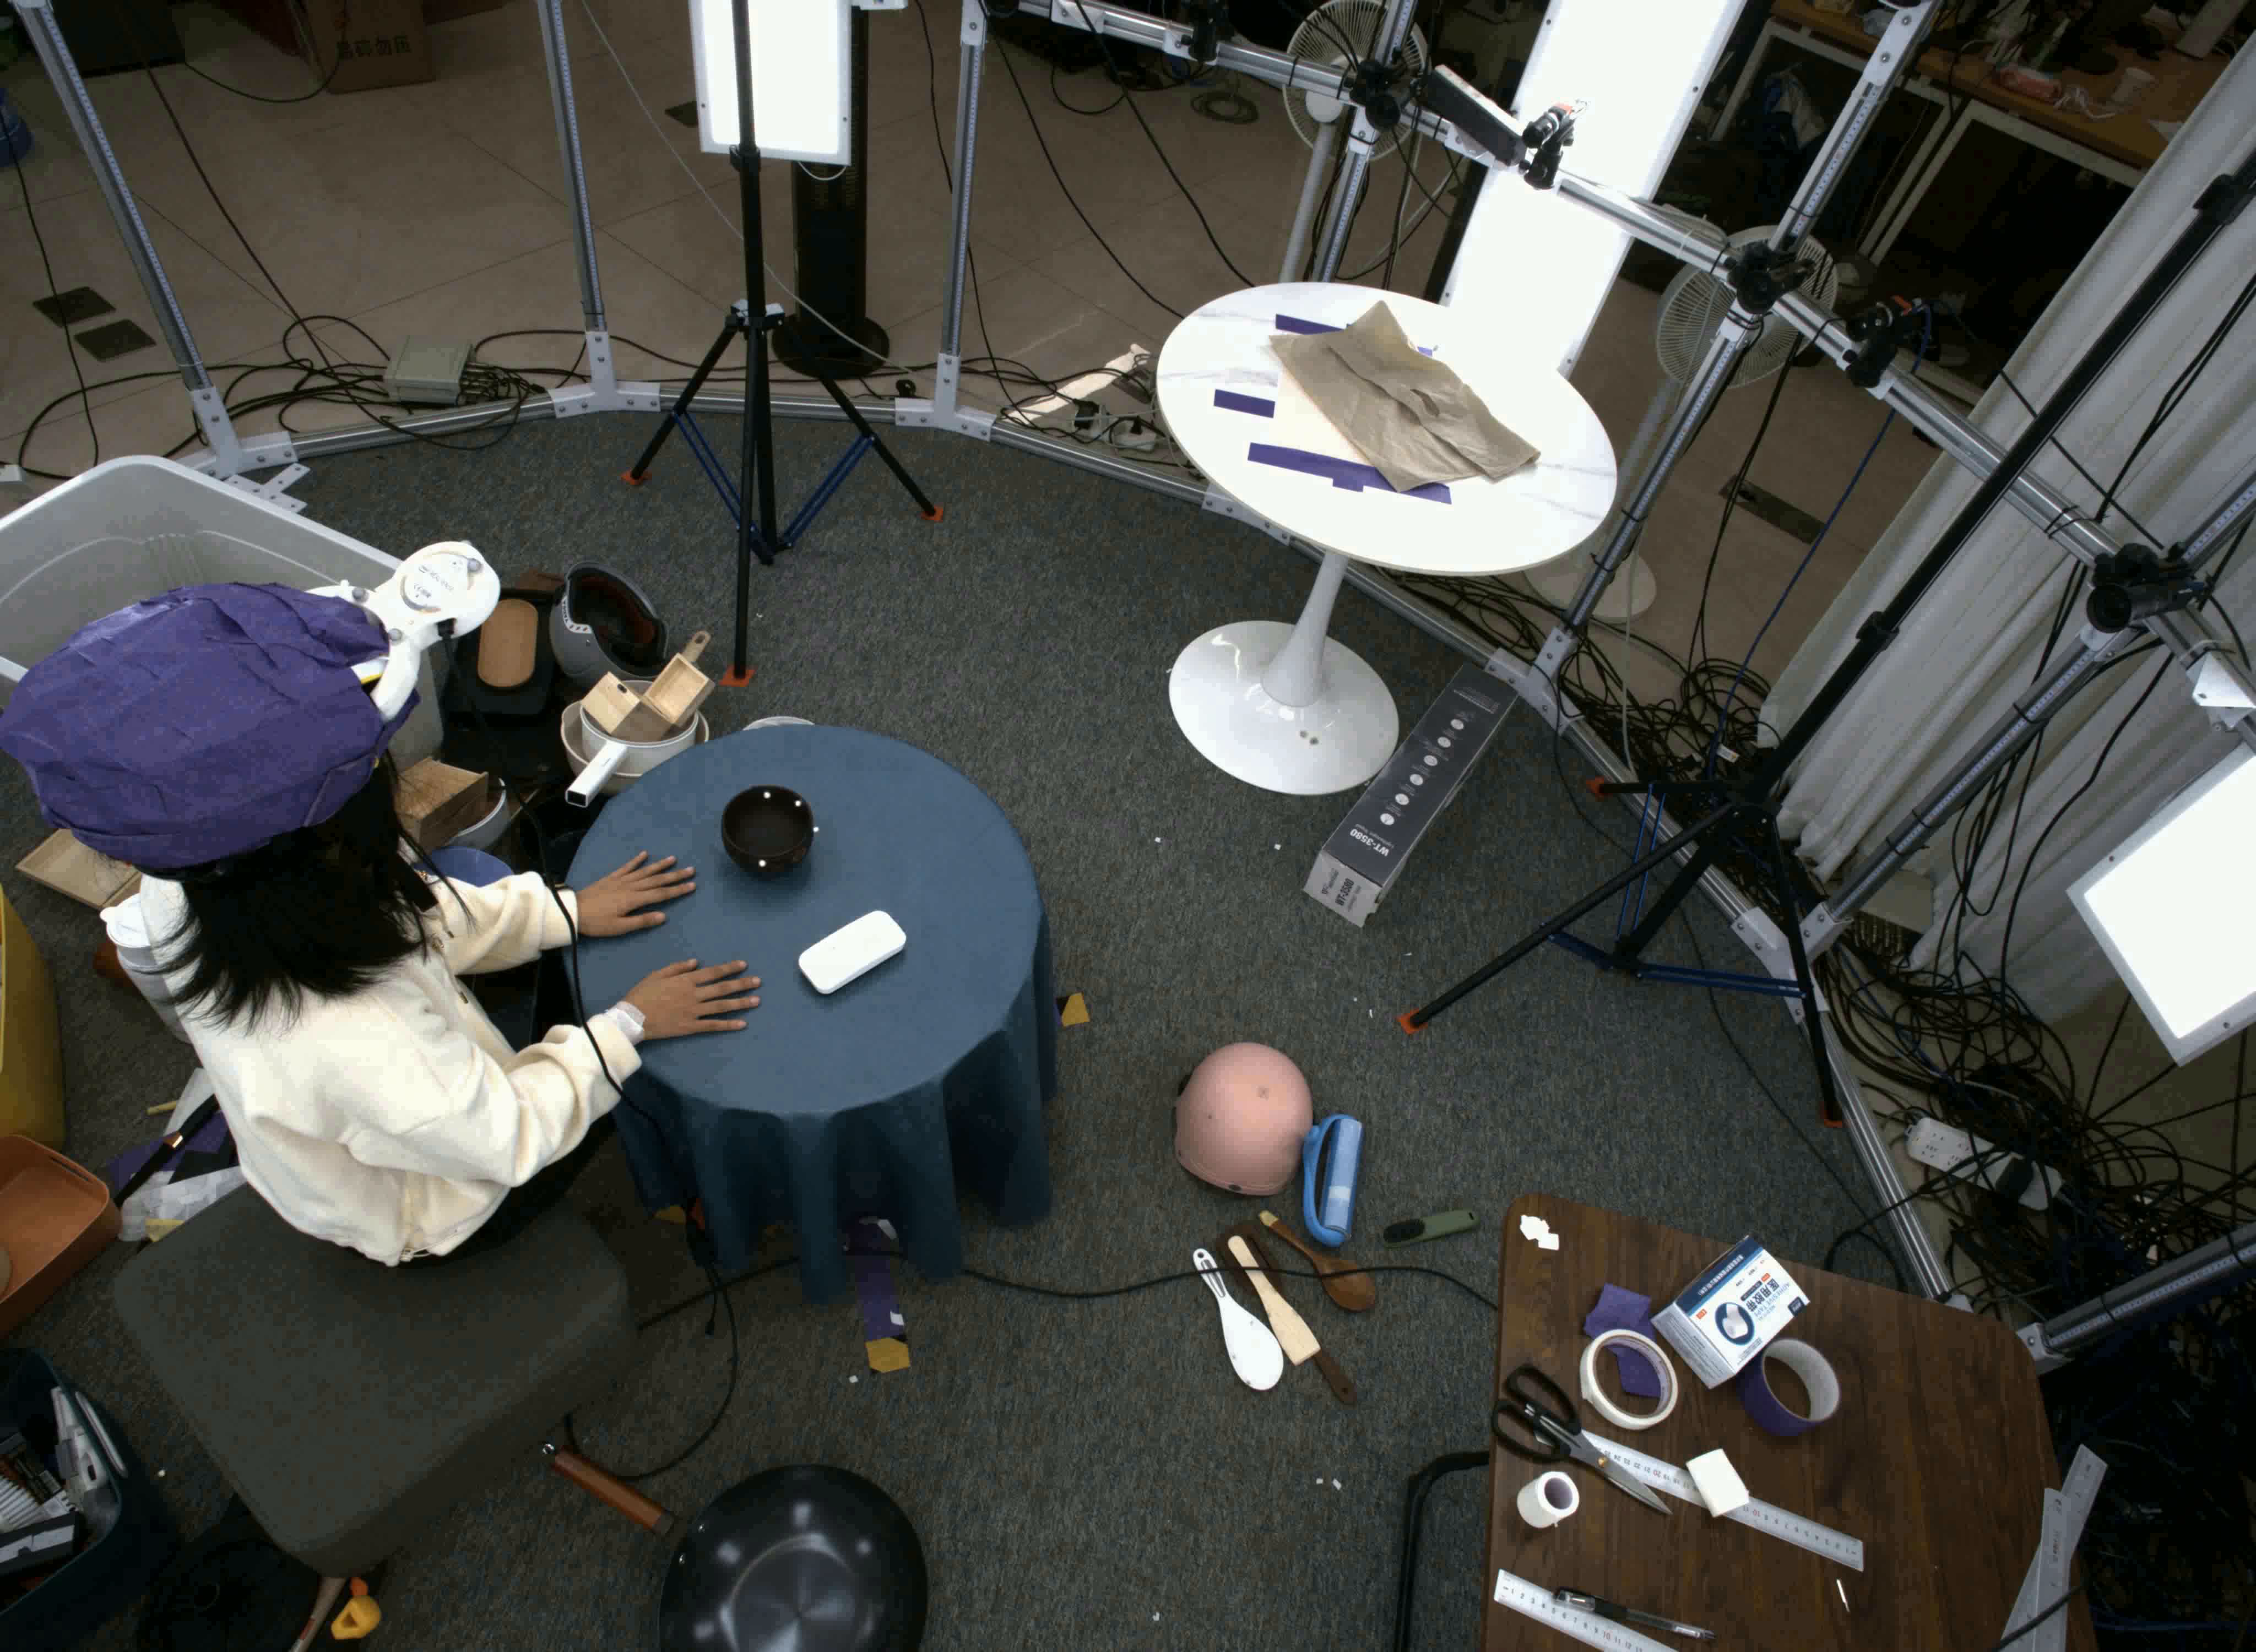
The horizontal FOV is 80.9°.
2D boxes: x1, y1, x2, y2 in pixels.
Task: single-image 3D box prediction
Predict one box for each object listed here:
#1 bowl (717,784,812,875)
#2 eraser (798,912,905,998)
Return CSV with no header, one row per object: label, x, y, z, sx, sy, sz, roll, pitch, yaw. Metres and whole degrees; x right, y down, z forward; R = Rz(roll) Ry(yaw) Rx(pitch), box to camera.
bowl,-0.463,0.011,1.654,0.117,0.071,0.116,7,51,-7
eraser,-0.342,0.155,1.605,0.132,0.035,0.062,-32,66,-32
